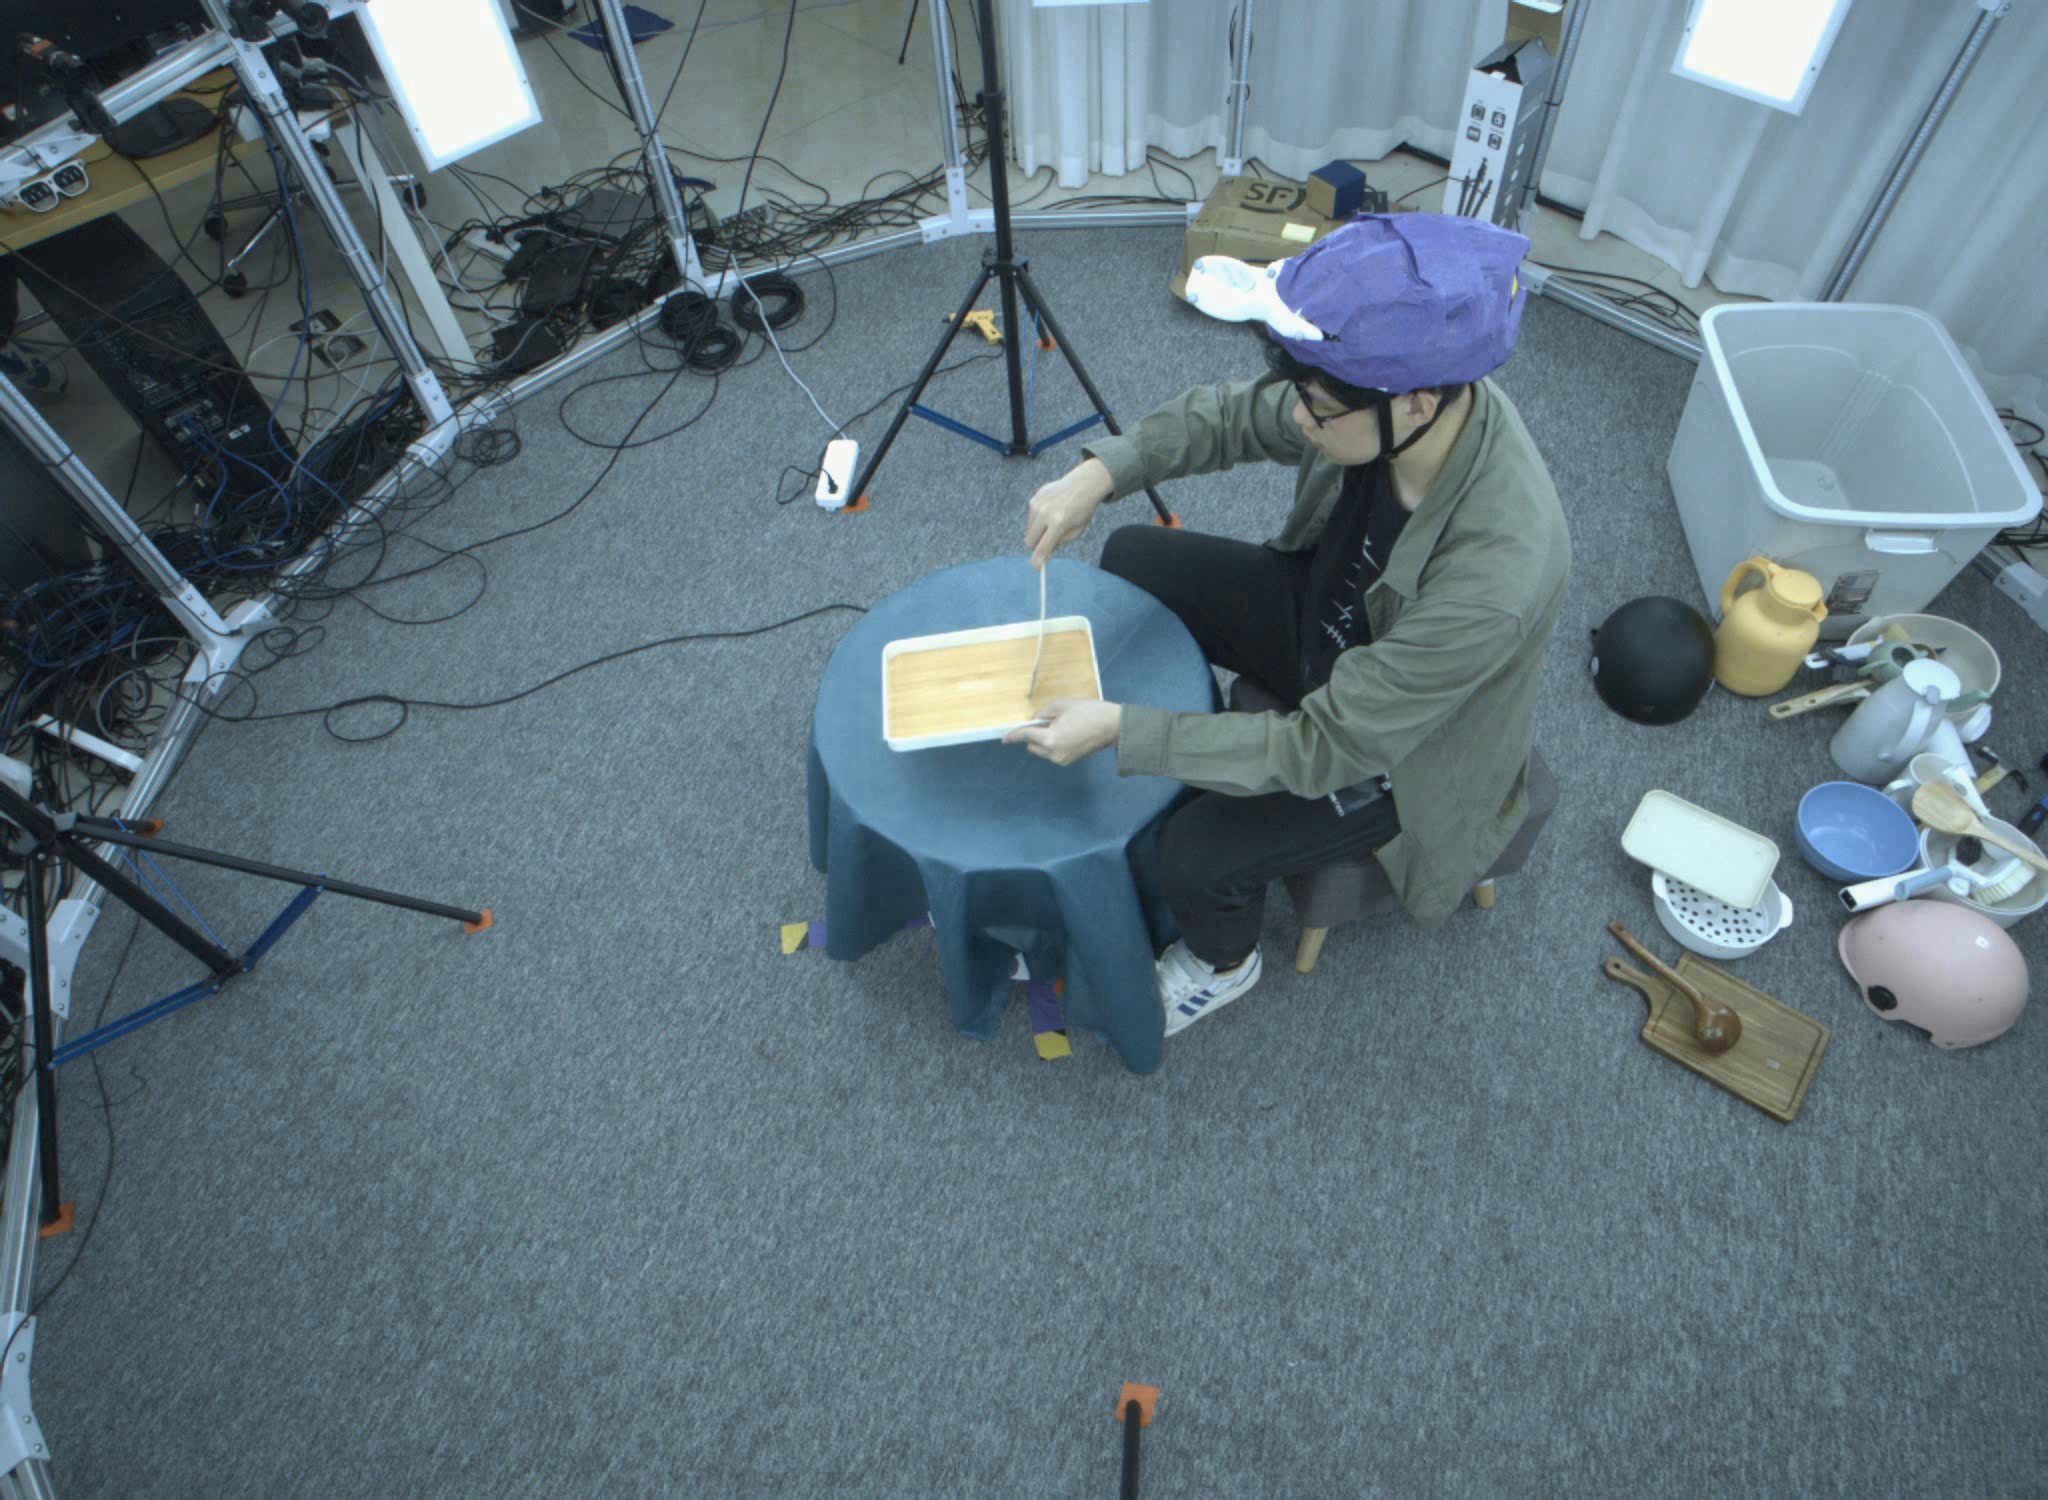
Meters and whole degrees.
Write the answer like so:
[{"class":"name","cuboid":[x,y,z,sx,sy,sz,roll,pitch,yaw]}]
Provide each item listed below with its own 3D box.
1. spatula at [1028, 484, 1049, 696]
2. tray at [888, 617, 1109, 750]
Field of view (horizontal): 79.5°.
[{"class":"spatula","cuboid":[0.022,-0.236,1.717,0.016,0.080,0.325,4,67,-4]},{"class":"tray","cuboid":[-0.040,-0.095,1.713,0.300,0.028,0.189,-6,52,0]}]
